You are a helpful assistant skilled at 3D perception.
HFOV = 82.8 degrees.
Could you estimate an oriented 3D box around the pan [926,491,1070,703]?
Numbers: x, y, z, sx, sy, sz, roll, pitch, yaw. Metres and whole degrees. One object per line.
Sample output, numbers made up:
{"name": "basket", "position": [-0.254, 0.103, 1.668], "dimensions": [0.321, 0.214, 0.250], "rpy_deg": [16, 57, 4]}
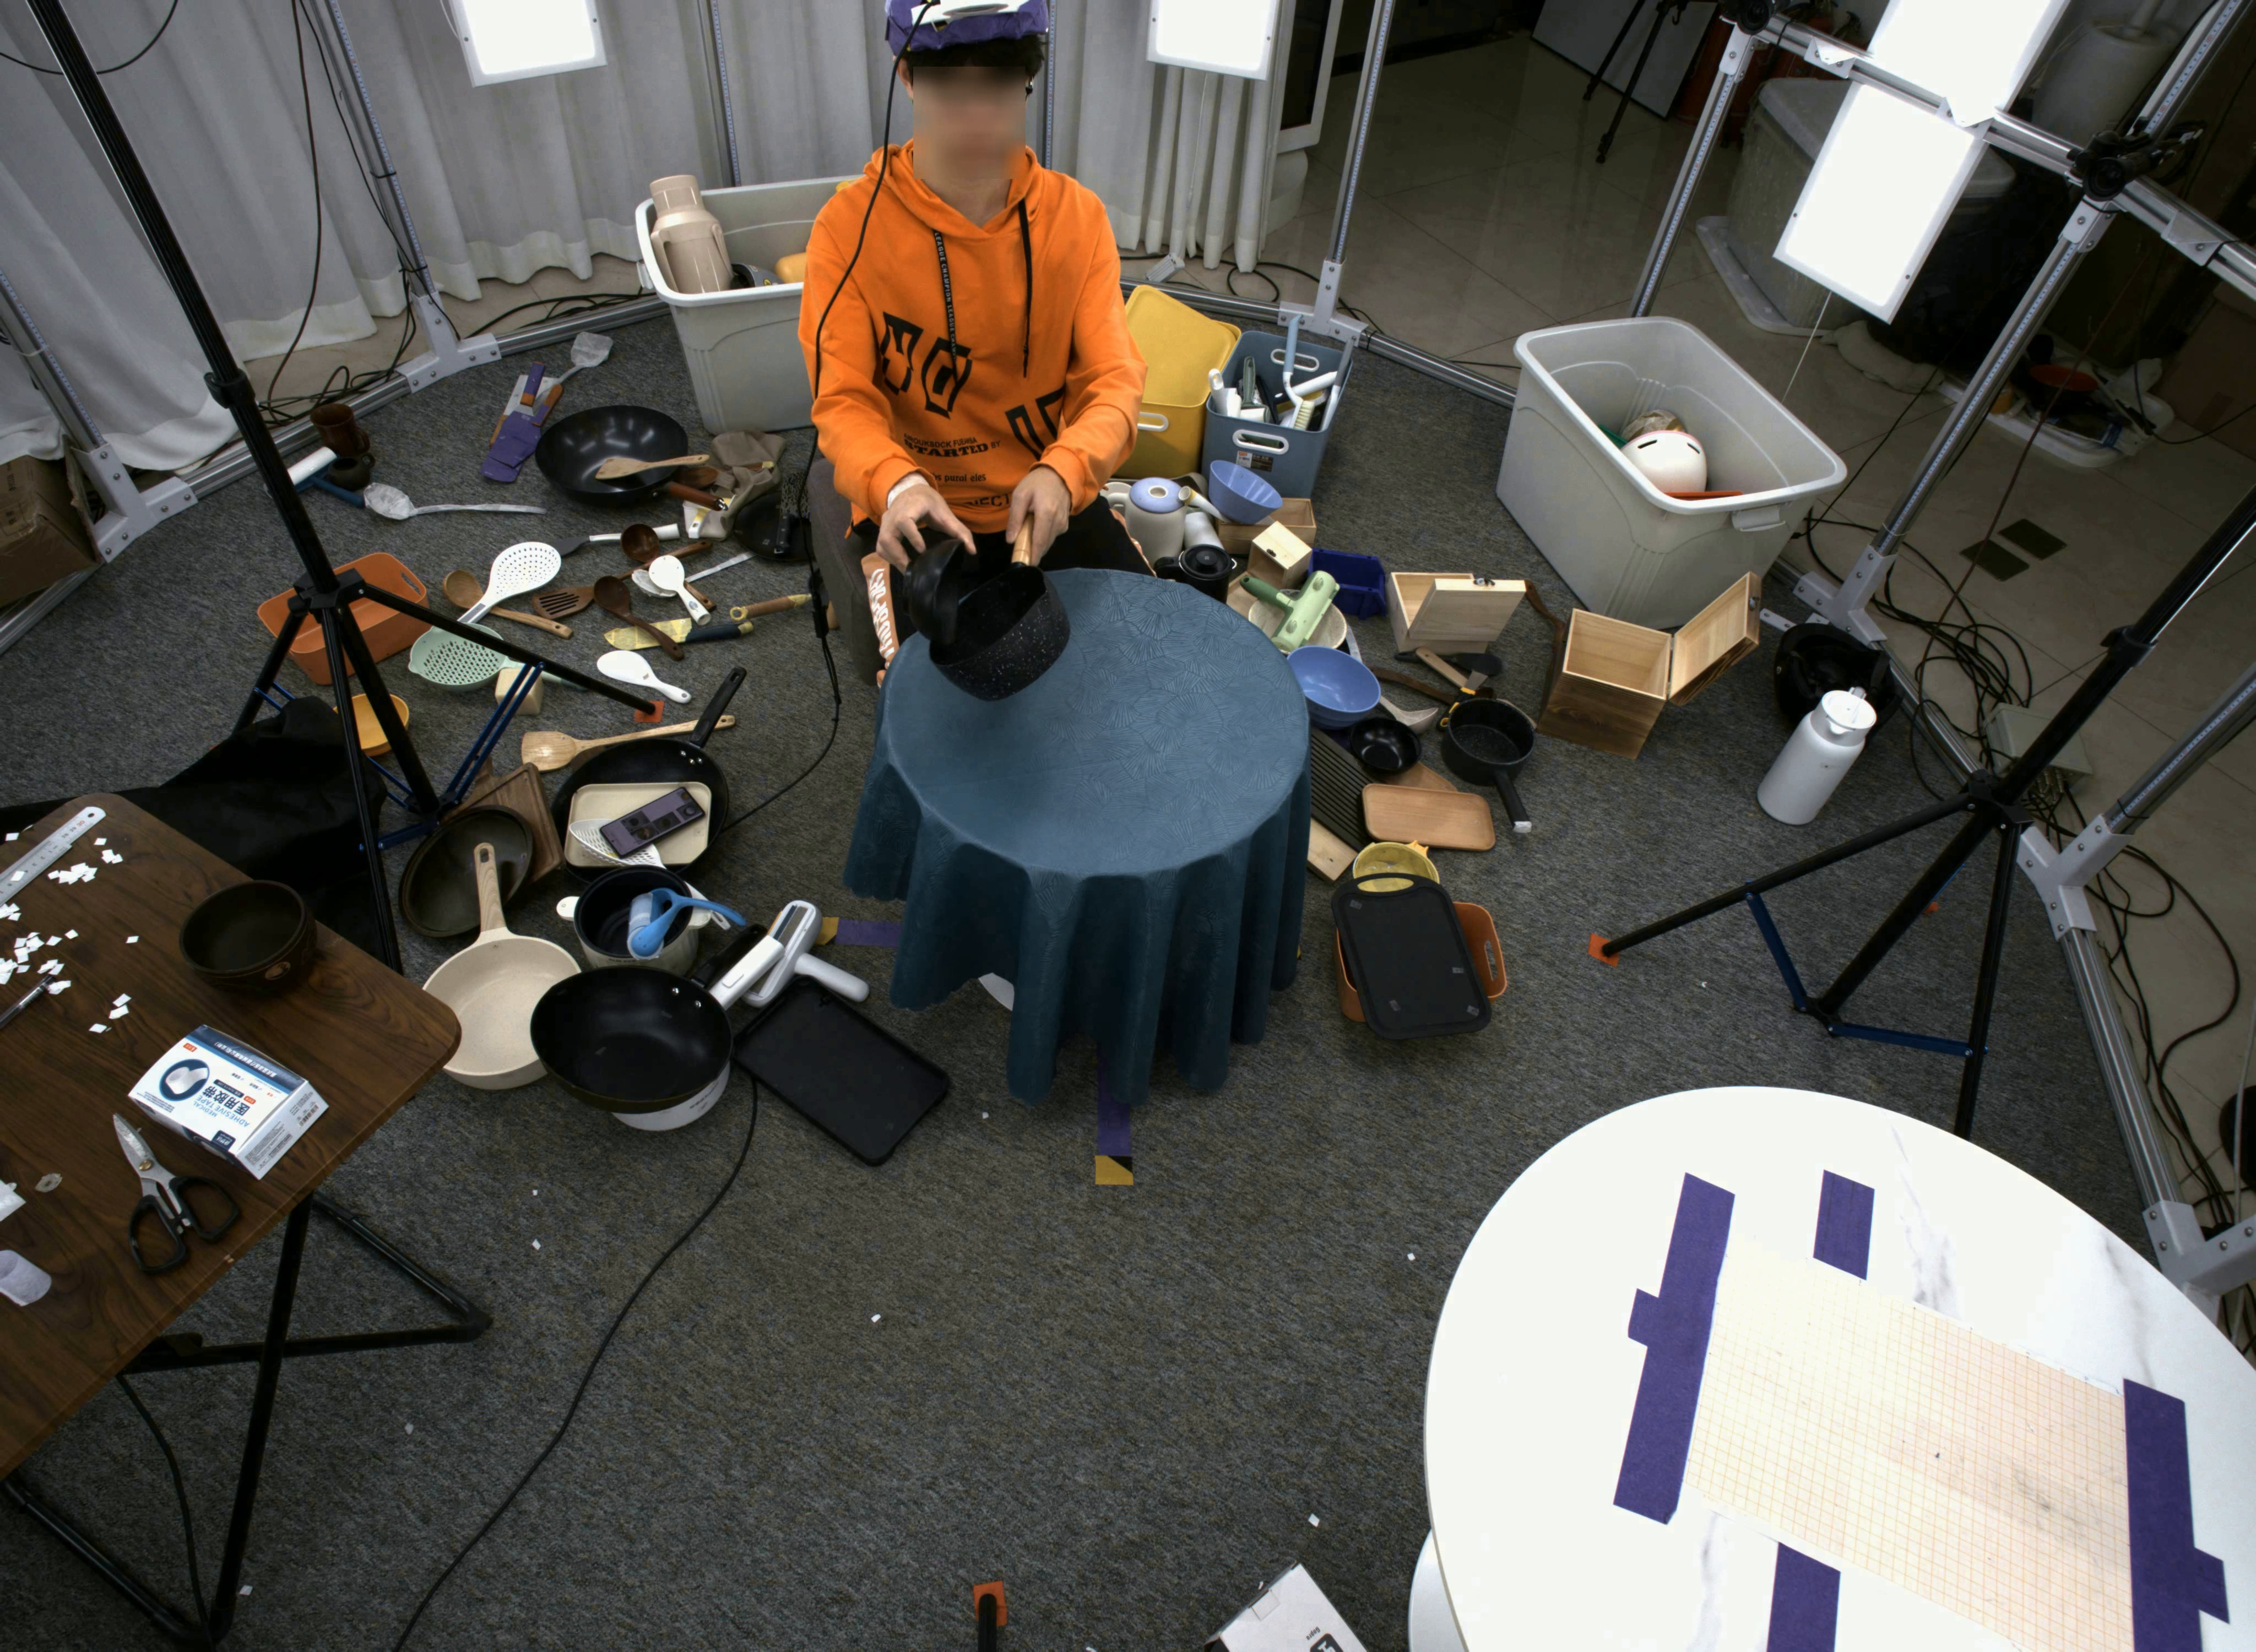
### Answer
{"name": "pan", "position": [-0.150, -0.307, 1.707], "dimensions": [0.207, 0.106, 0.350], "rpy_deg": [-18, 39, 33]}

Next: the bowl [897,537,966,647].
{"name": "bowl", "position": [-0.249, -0.296, 1.616], "dimensions": [0.066, 0.136, 0.172], "rpy_deg": [8, 14, 1]}
